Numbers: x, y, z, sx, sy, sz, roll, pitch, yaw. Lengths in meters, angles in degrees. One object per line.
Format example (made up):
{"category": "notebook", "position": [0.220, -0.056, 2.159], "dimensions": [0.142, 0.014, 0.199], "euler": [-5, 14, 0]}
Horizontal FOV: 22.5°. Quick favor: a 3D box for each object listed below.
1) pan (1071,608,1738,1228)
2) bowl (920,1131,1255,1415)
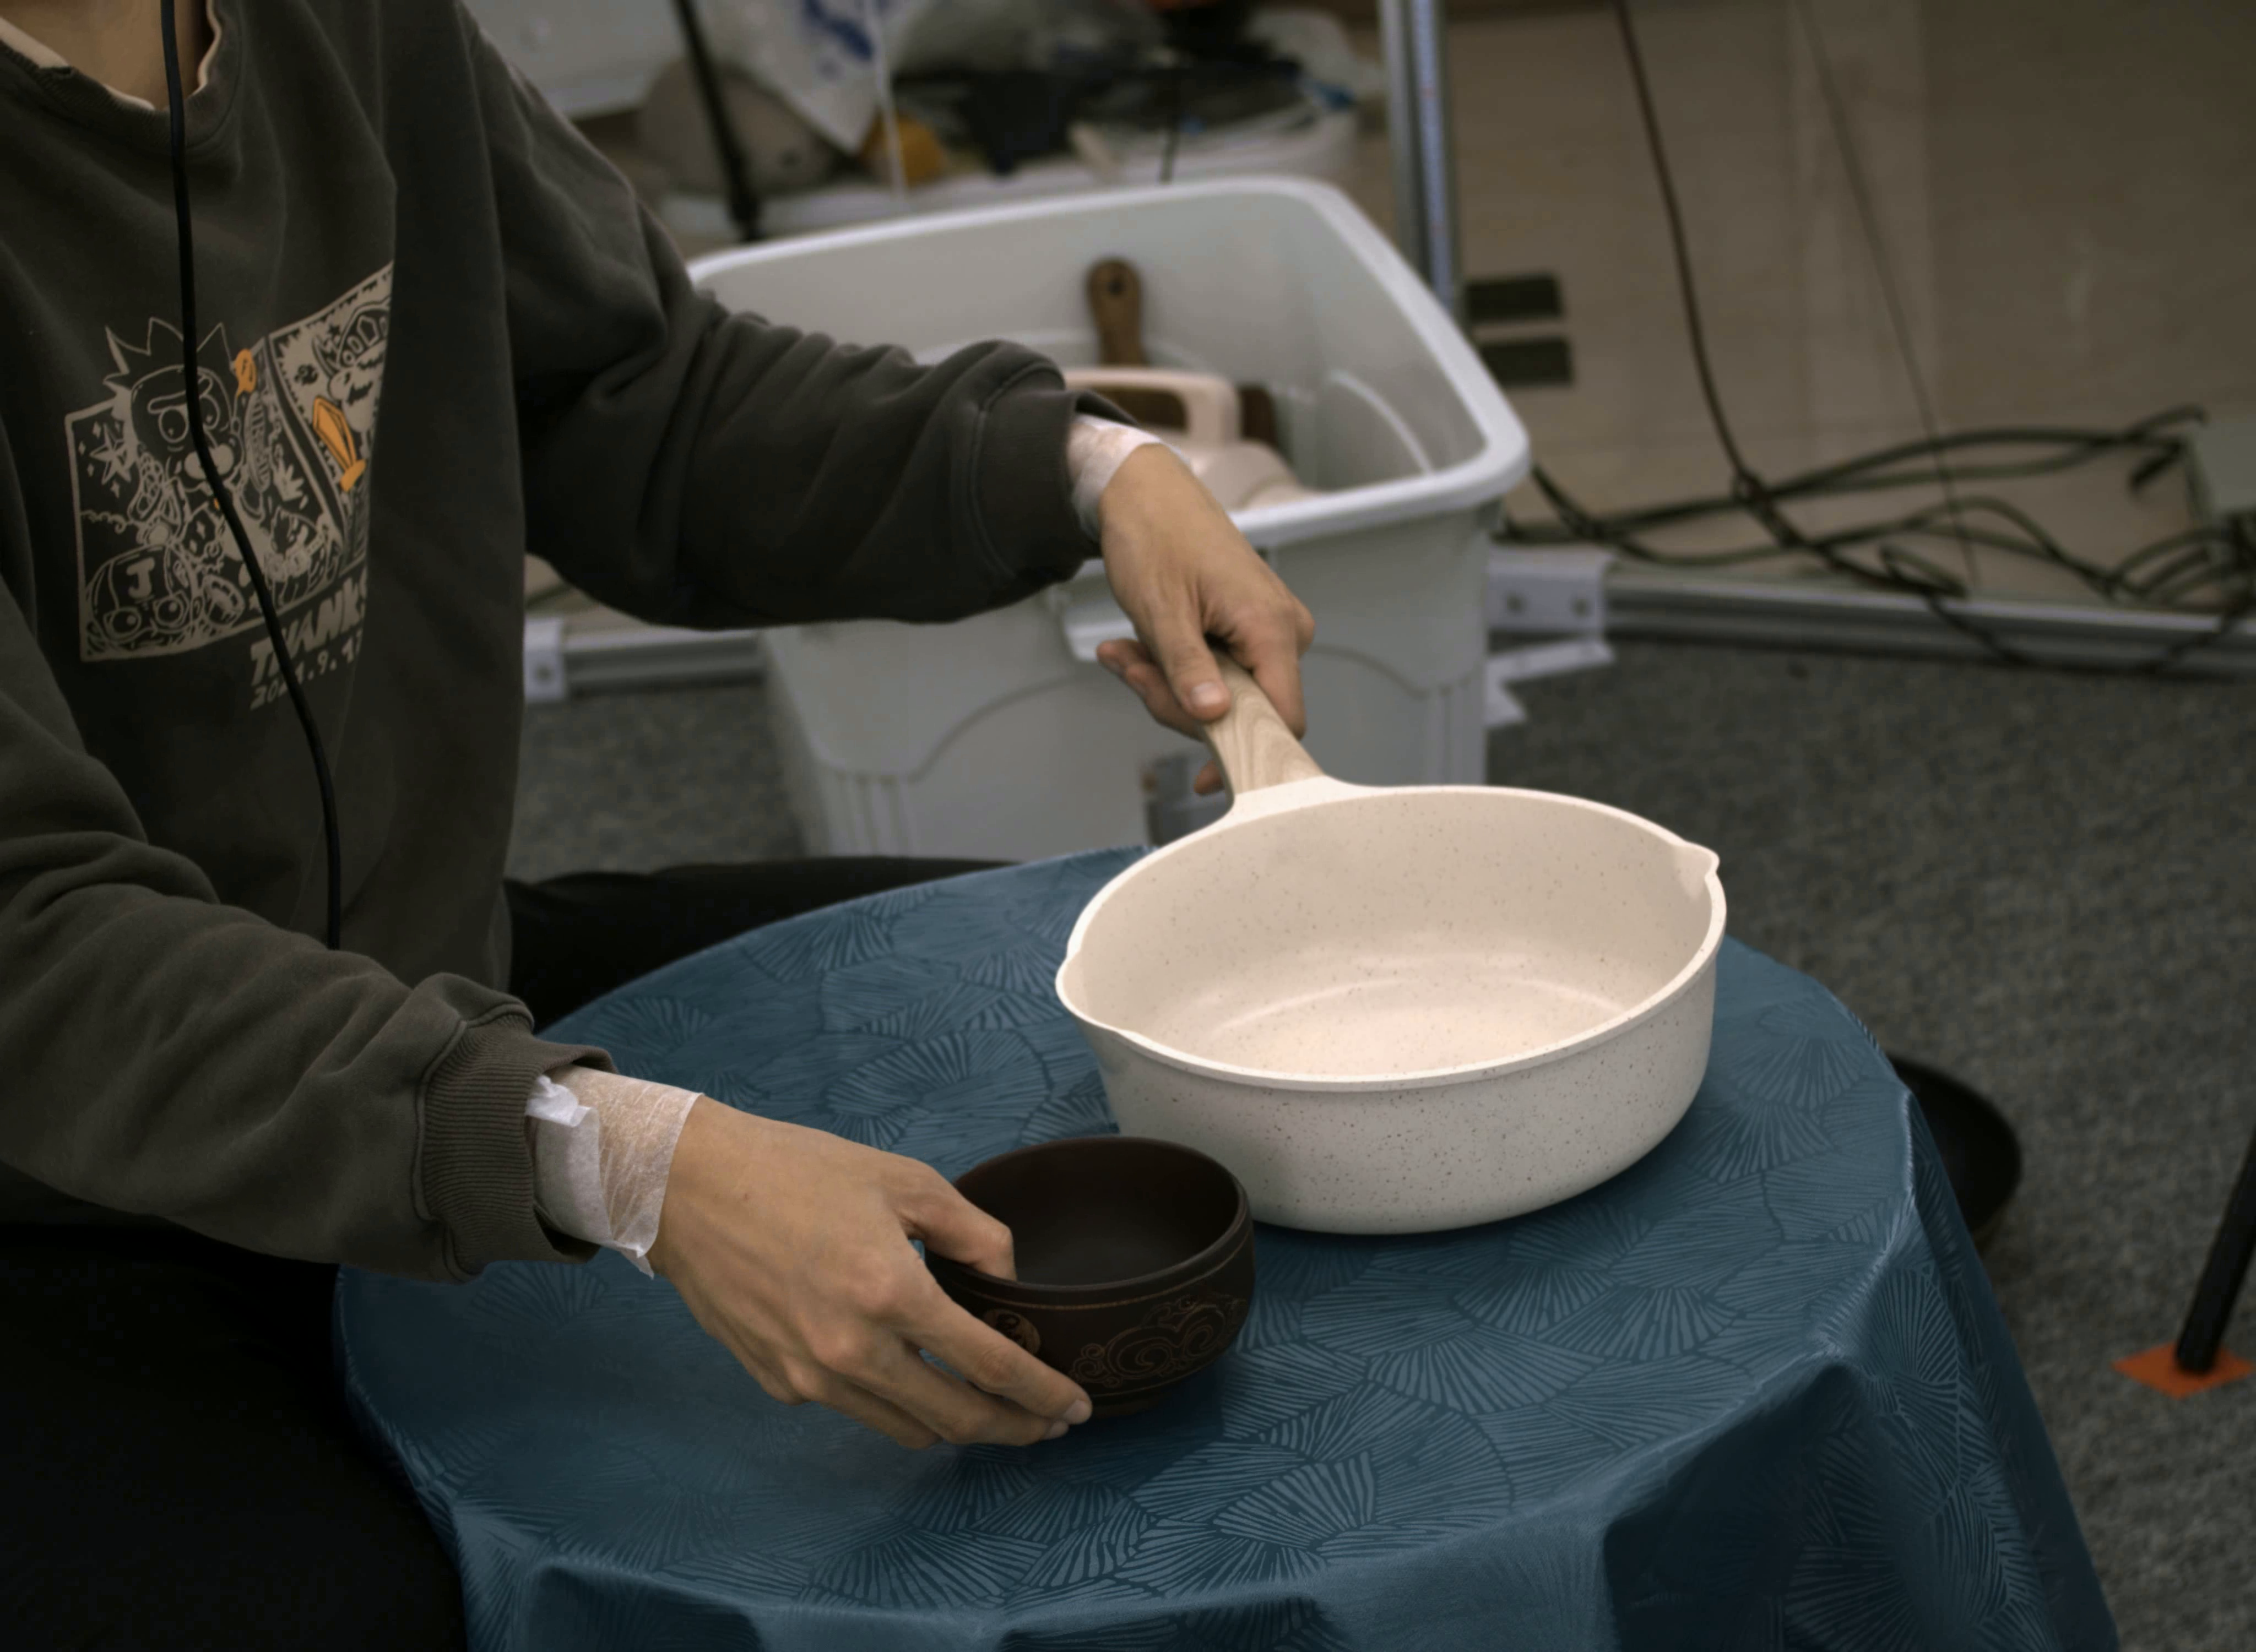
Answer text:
{"category": "pan", "position": [0.083, 0.031, 2.240], "dimensions": [0.262, 0.103, 0.429], "euler": [-14, 26, -12]}
{"category": "bowl", "position": [-0.012, 0.165, 2.007], "dimensions": [0.118, 0.071, 0.116], "euler": [-5, 25, 3]}
